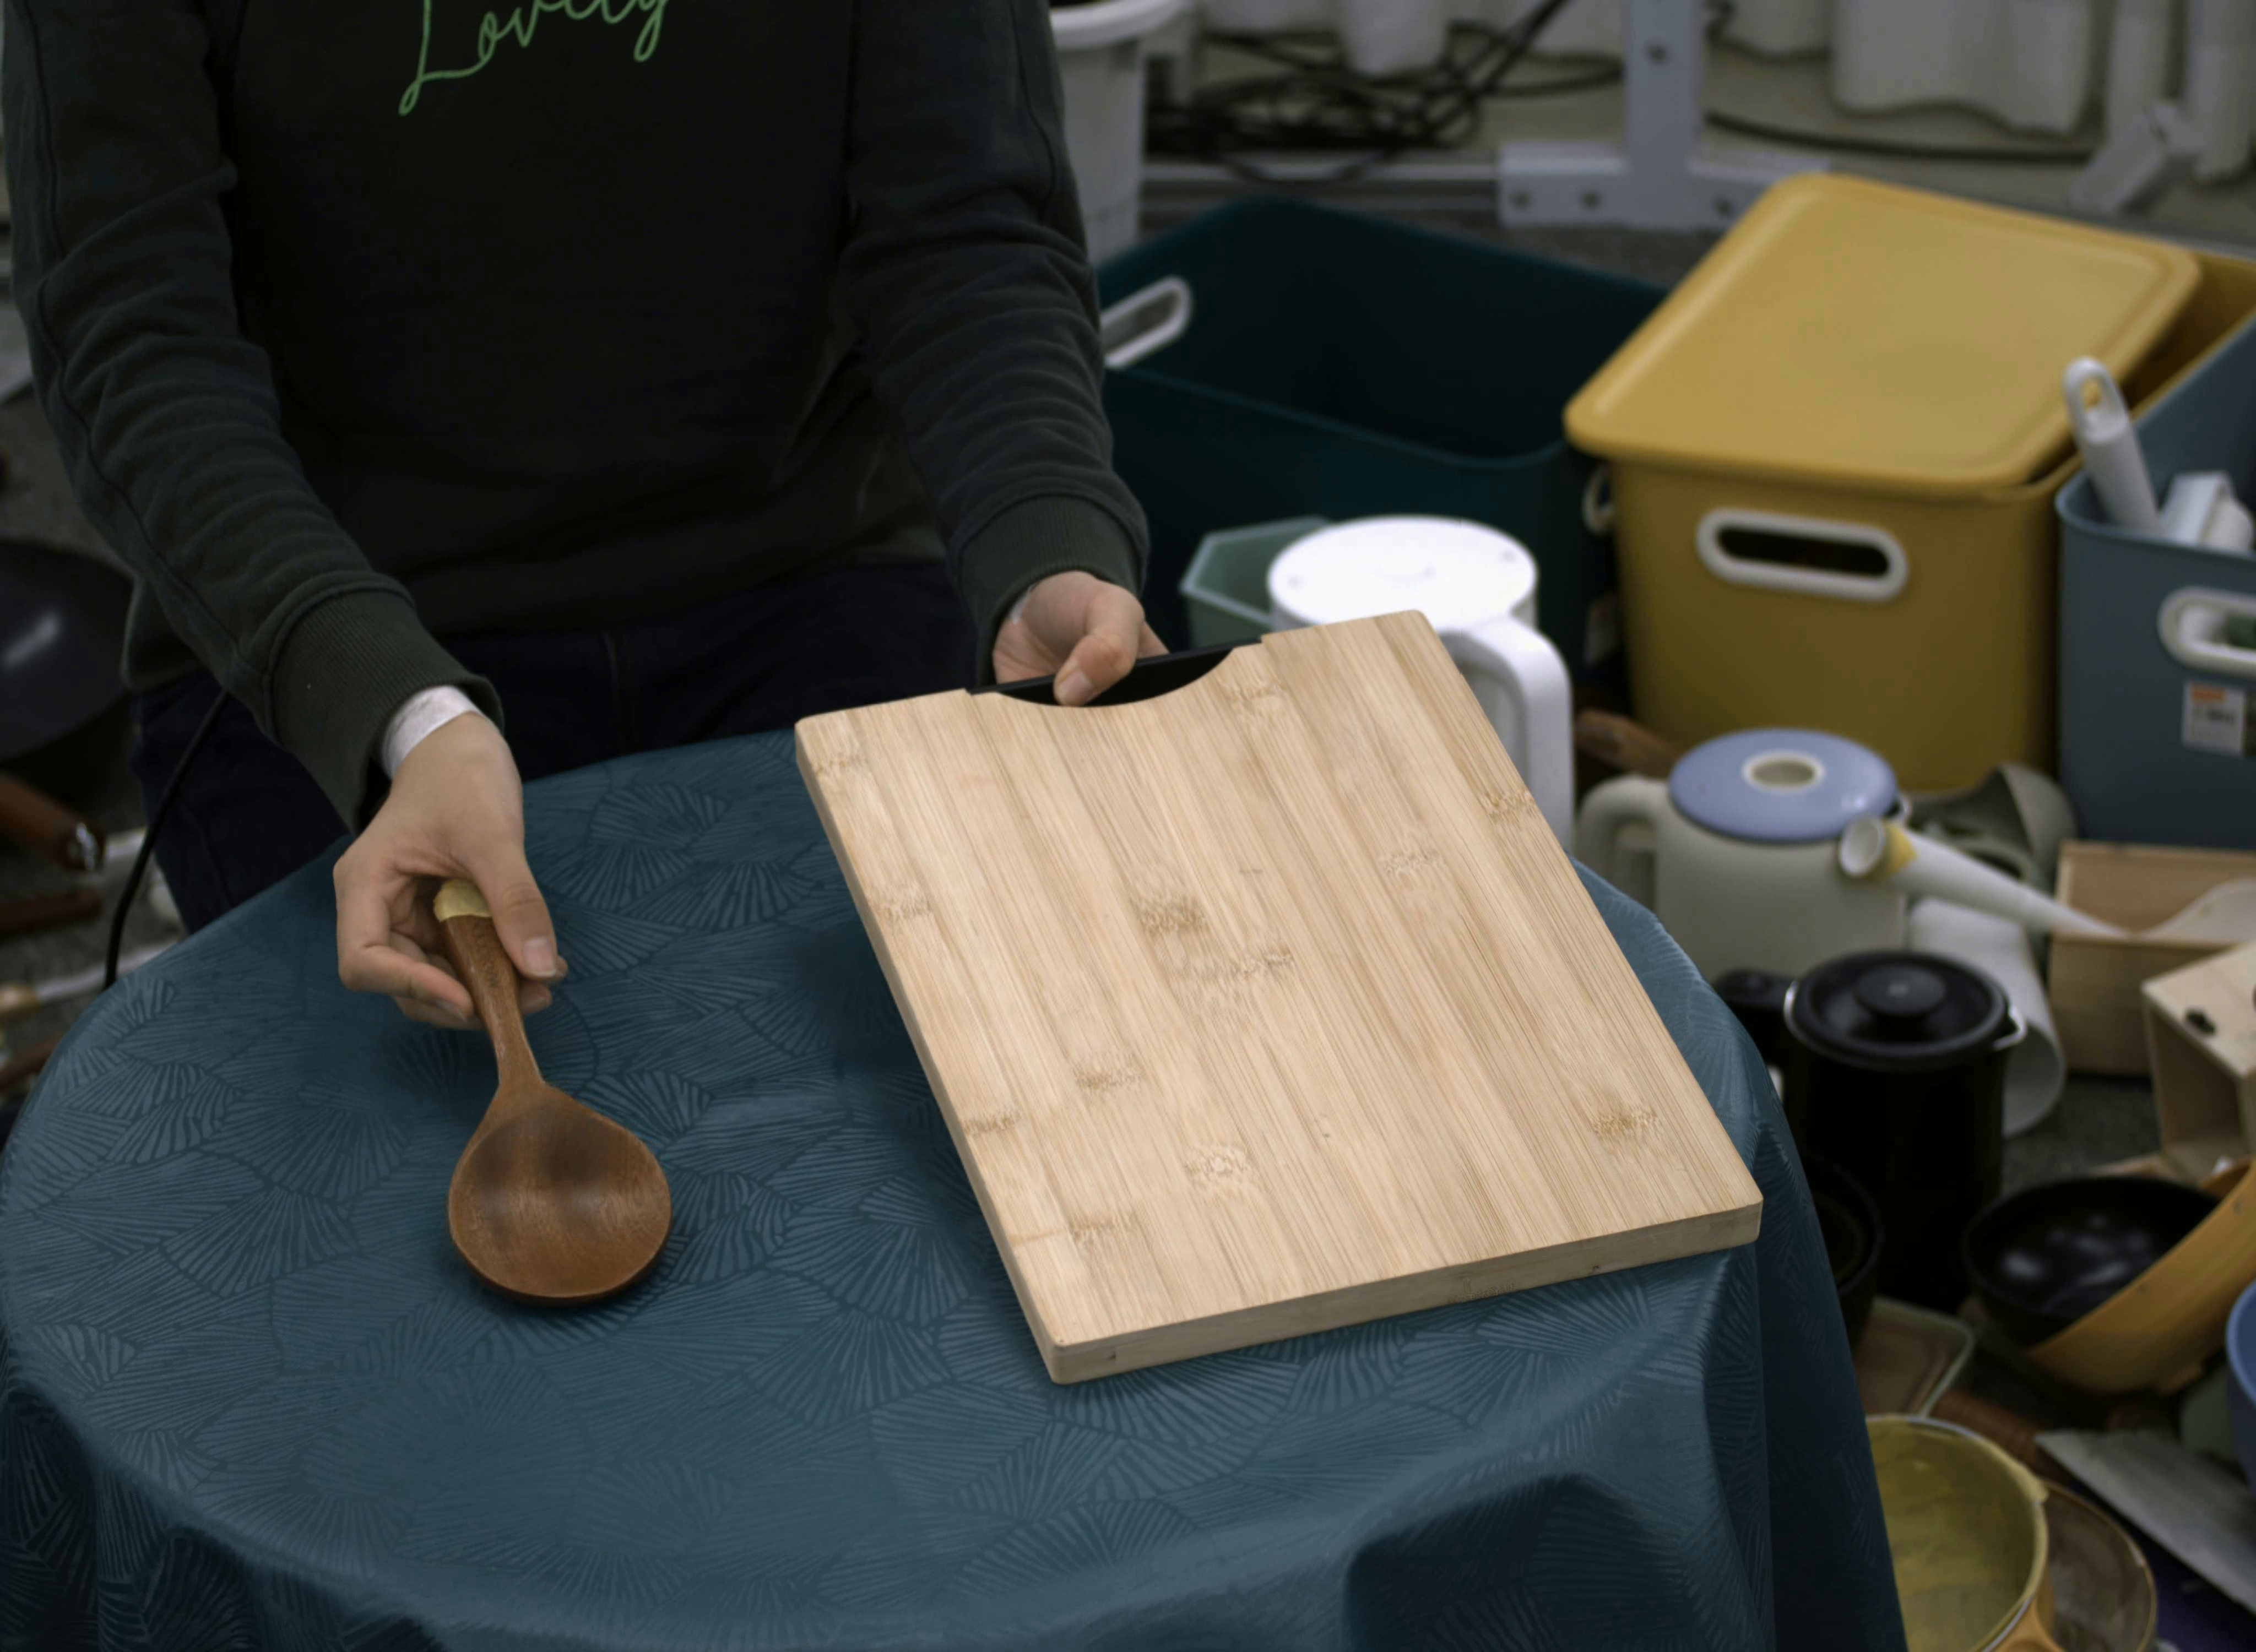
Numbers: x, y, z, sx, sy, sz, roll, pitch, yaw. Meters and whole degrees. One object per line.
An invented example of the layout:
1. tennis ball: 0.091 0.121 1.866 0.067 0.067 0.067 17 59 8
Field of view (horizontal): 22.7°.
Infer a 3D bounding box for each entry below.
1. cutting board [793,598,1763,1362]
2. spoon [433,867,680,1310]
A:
1. cutting board: 0.042 0.045 1.918 0.251 0.023 0.353 -10 38 -15
2. spoon: -0.202 0.088 1.886 0.075 0.017 0.219 -12 43 -11
